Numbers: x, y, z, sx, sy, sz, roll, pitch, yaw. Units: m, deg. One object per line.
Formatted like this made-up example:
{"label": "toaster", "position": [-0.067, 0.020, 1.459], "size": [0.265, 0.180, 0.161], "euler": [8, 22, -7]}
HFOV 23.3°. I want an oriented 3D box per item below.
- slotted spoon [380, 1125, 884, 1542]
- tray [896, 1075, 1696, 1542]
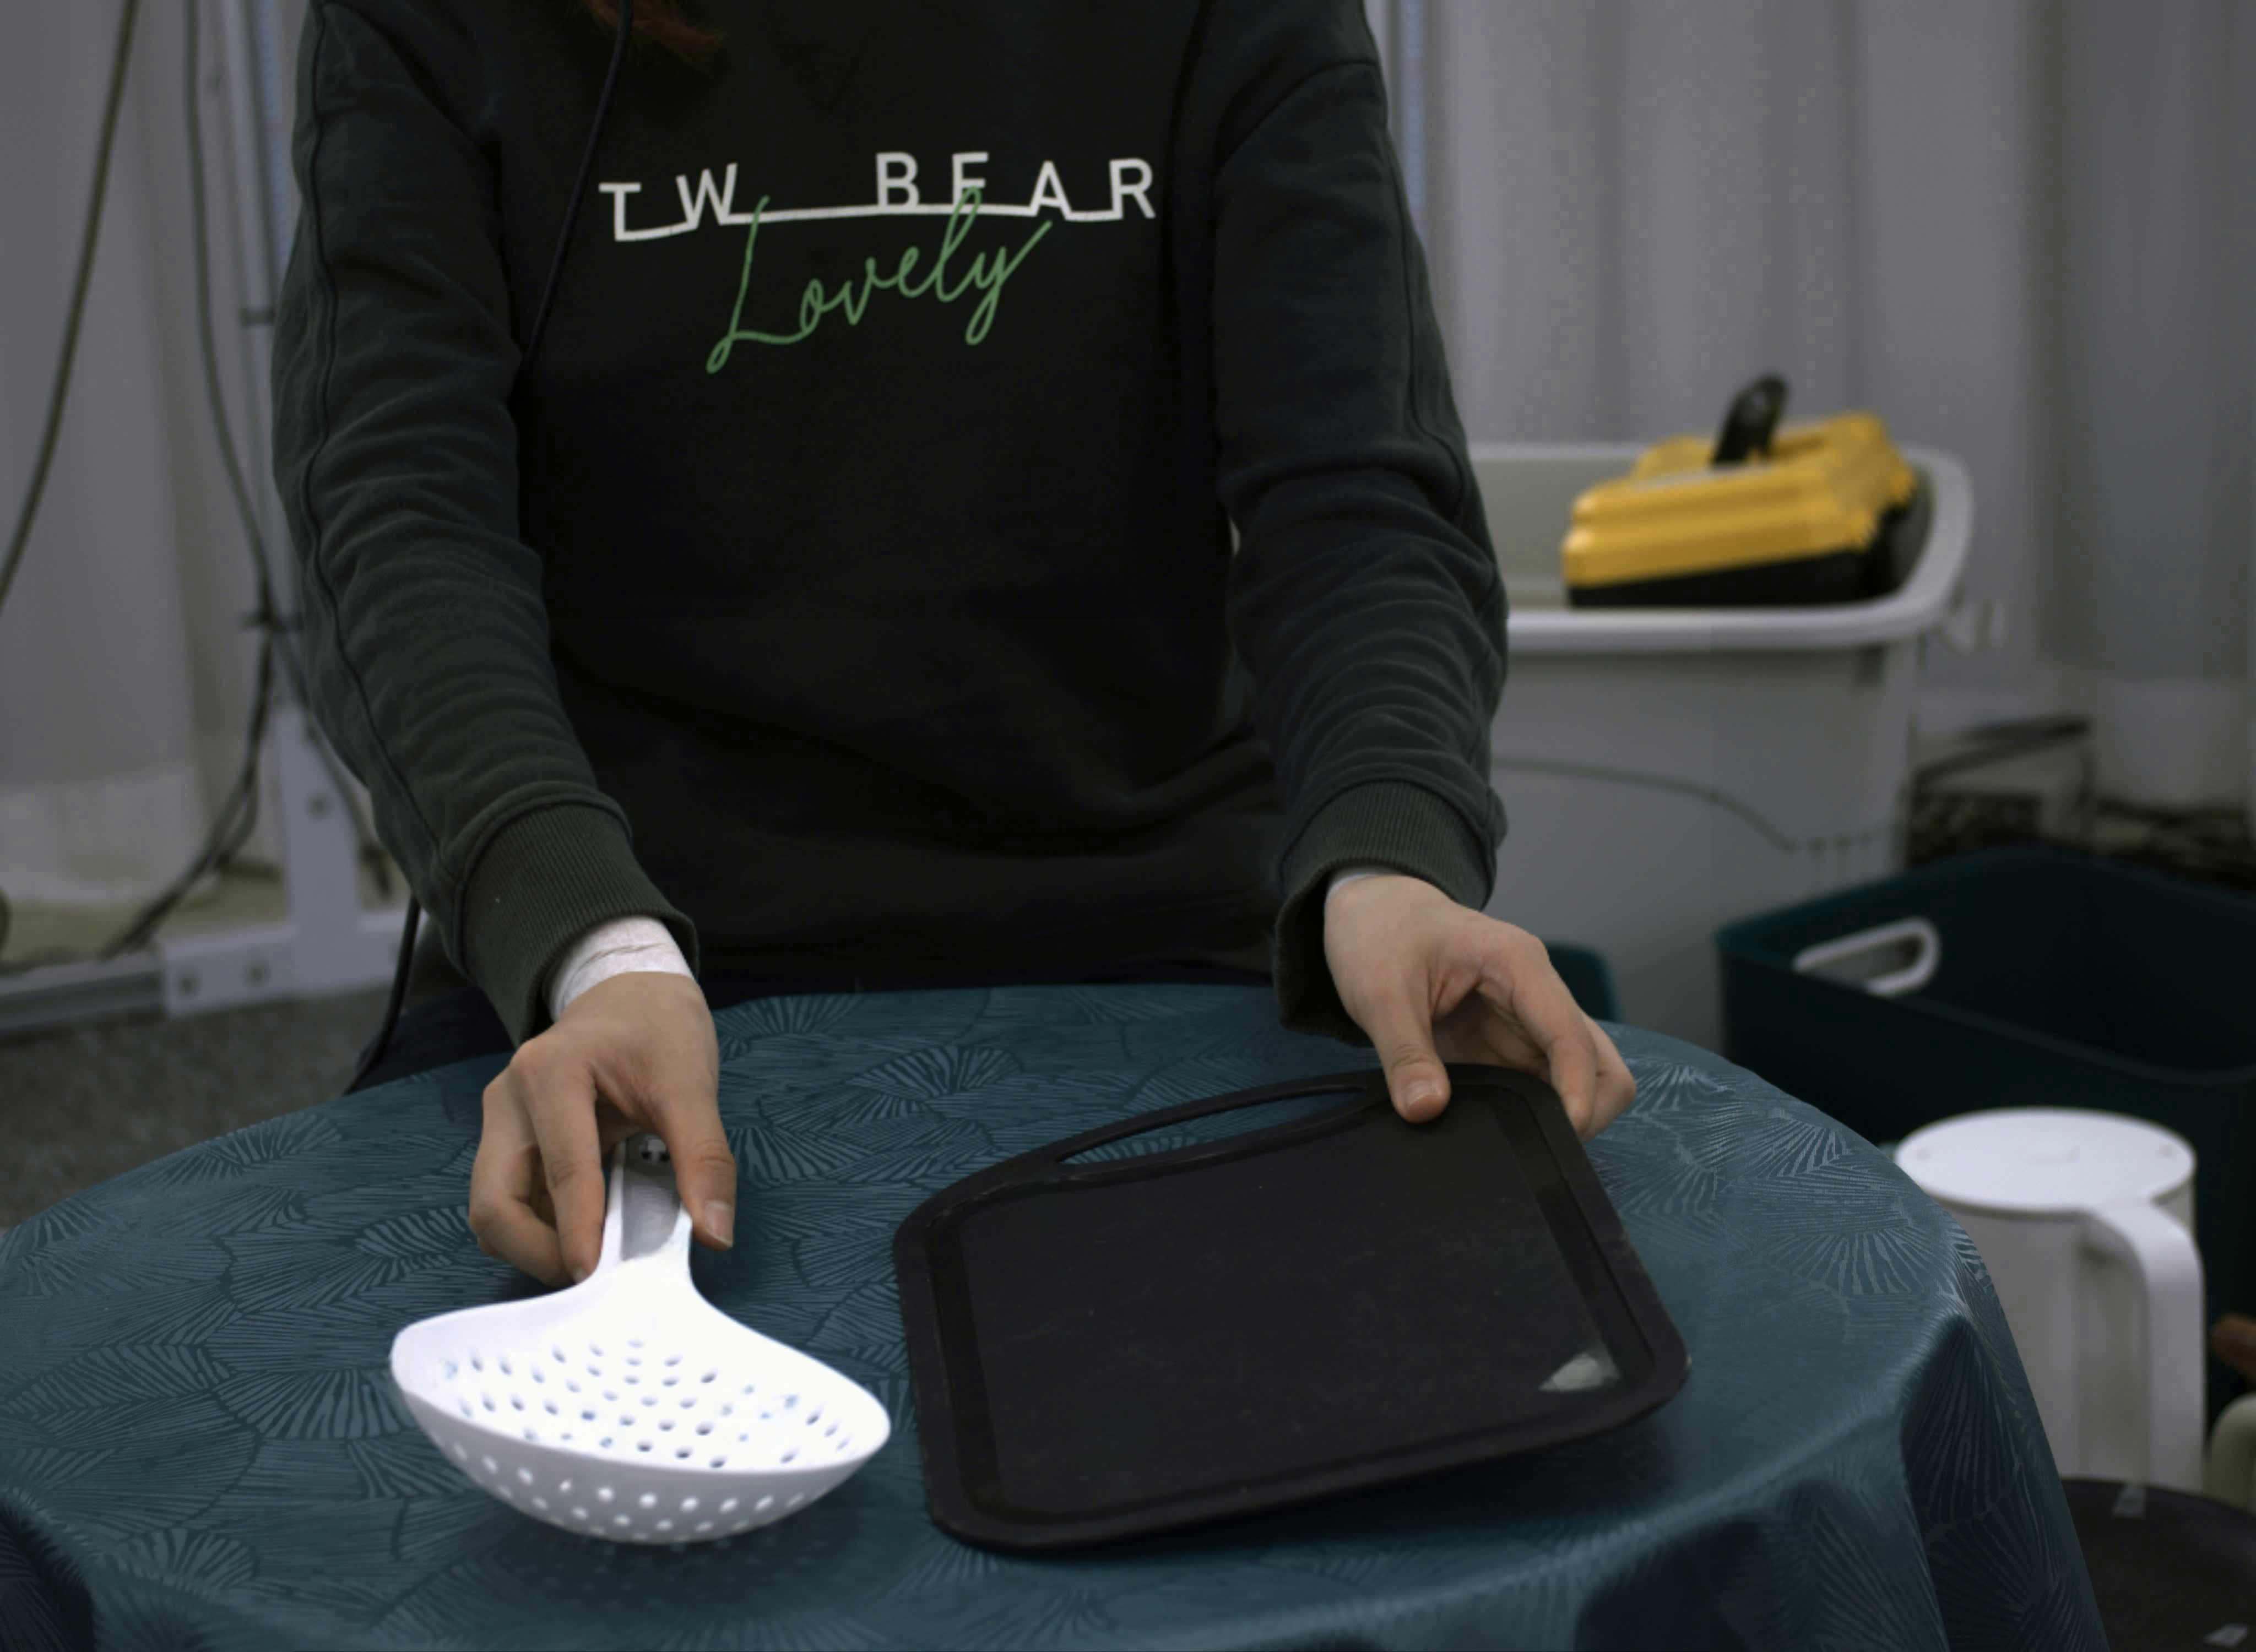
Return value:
{"label": "slotted spoon", "position": [-0.139, 0.135, 1.560], "size": [0.135, 0.045, 0.352], "euler": [10, 15, -5]}
{"label": "tray", "position": [0.039, 0.131, 1.578], "size": [0.210, 0.010, 0.328], "euler": [-11, 16, -2]}
